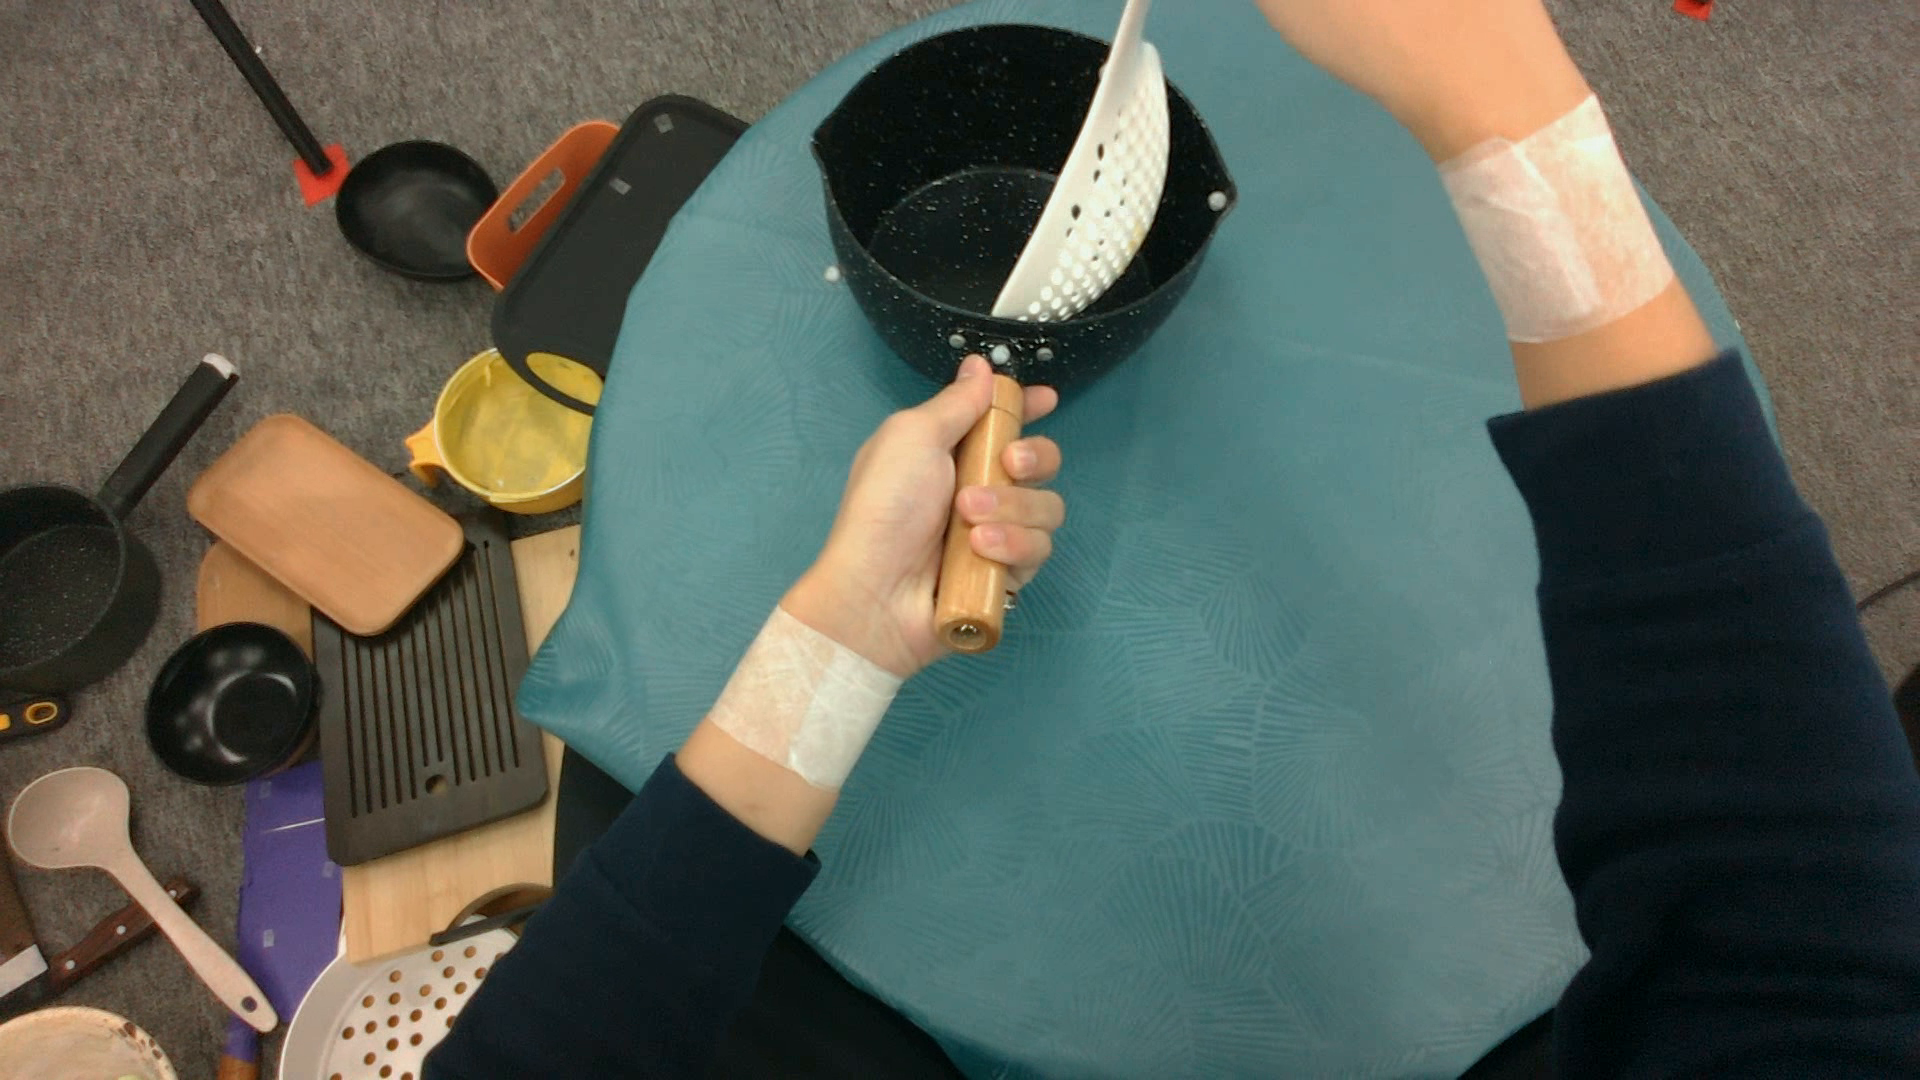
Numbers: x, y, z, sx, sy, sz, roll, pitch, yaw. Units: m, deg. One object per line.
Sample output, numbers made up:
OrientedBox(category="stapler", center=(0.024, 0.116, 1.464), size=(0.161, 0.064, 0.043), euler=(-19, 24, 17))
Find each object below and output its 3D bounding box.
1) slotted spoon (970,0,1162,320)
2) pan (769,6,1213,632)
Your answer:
OrientedBox(category="slotted spoon", center=(0.065, -0.178, 0.511), size=(0.050, 0.347, 0.137), euler=(31, 74, 6))
OrientedBox(category="pan", center=(0.008, -0.097, 0.624), size=(0.207, 0.108, 0.344), euler=(6, 60, -3))
